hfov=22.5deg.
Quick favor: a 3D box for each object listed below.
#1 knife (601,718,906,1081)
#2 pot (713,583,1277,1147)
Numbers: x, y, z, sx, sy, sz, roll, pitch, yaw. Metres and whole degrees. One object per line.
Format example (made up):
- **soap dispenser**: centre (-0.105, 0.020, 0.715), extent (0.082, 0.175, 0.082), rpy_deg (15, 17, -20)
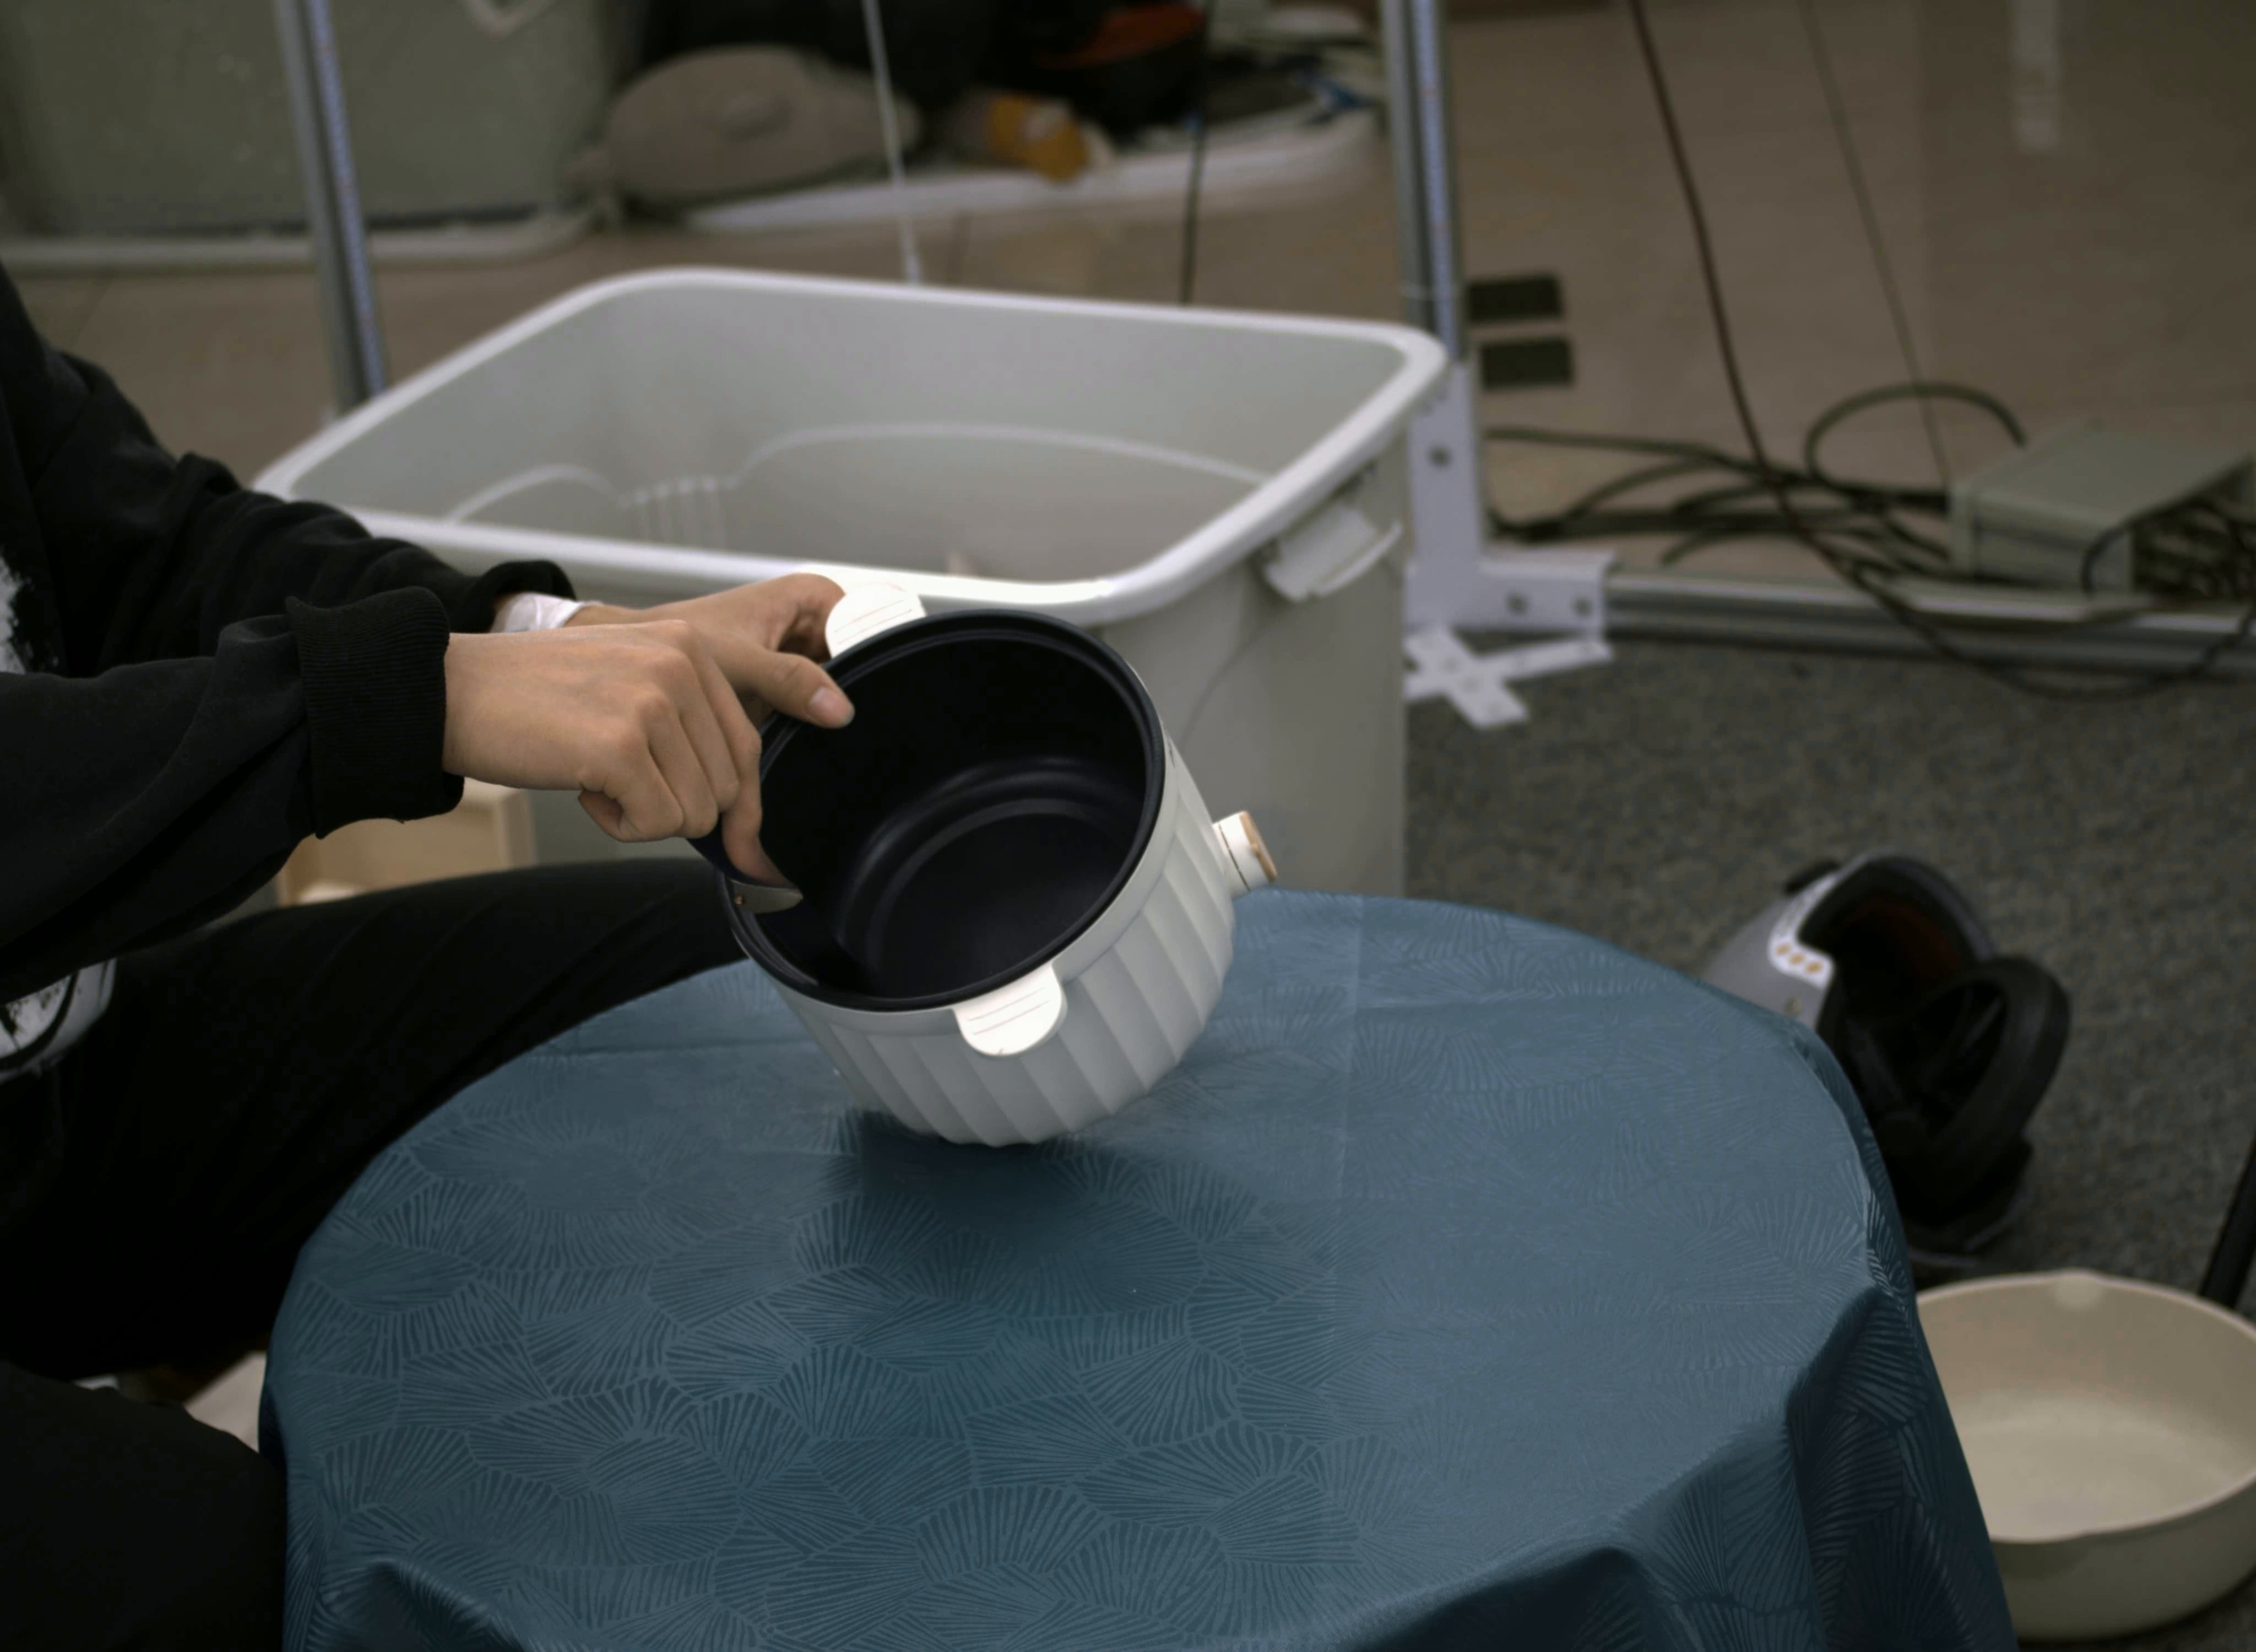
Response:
- **knife**: centre (-0.129, 0.031, 2.078), extent (0.026, 0.229, 0.017), rpy_deg (-20, 46, 19)
- **pot**: centre (-0.048, 0.024, 2.184), extent (0.190, 0.145, 0.236), rpy_deg (-27, 53, 7)
